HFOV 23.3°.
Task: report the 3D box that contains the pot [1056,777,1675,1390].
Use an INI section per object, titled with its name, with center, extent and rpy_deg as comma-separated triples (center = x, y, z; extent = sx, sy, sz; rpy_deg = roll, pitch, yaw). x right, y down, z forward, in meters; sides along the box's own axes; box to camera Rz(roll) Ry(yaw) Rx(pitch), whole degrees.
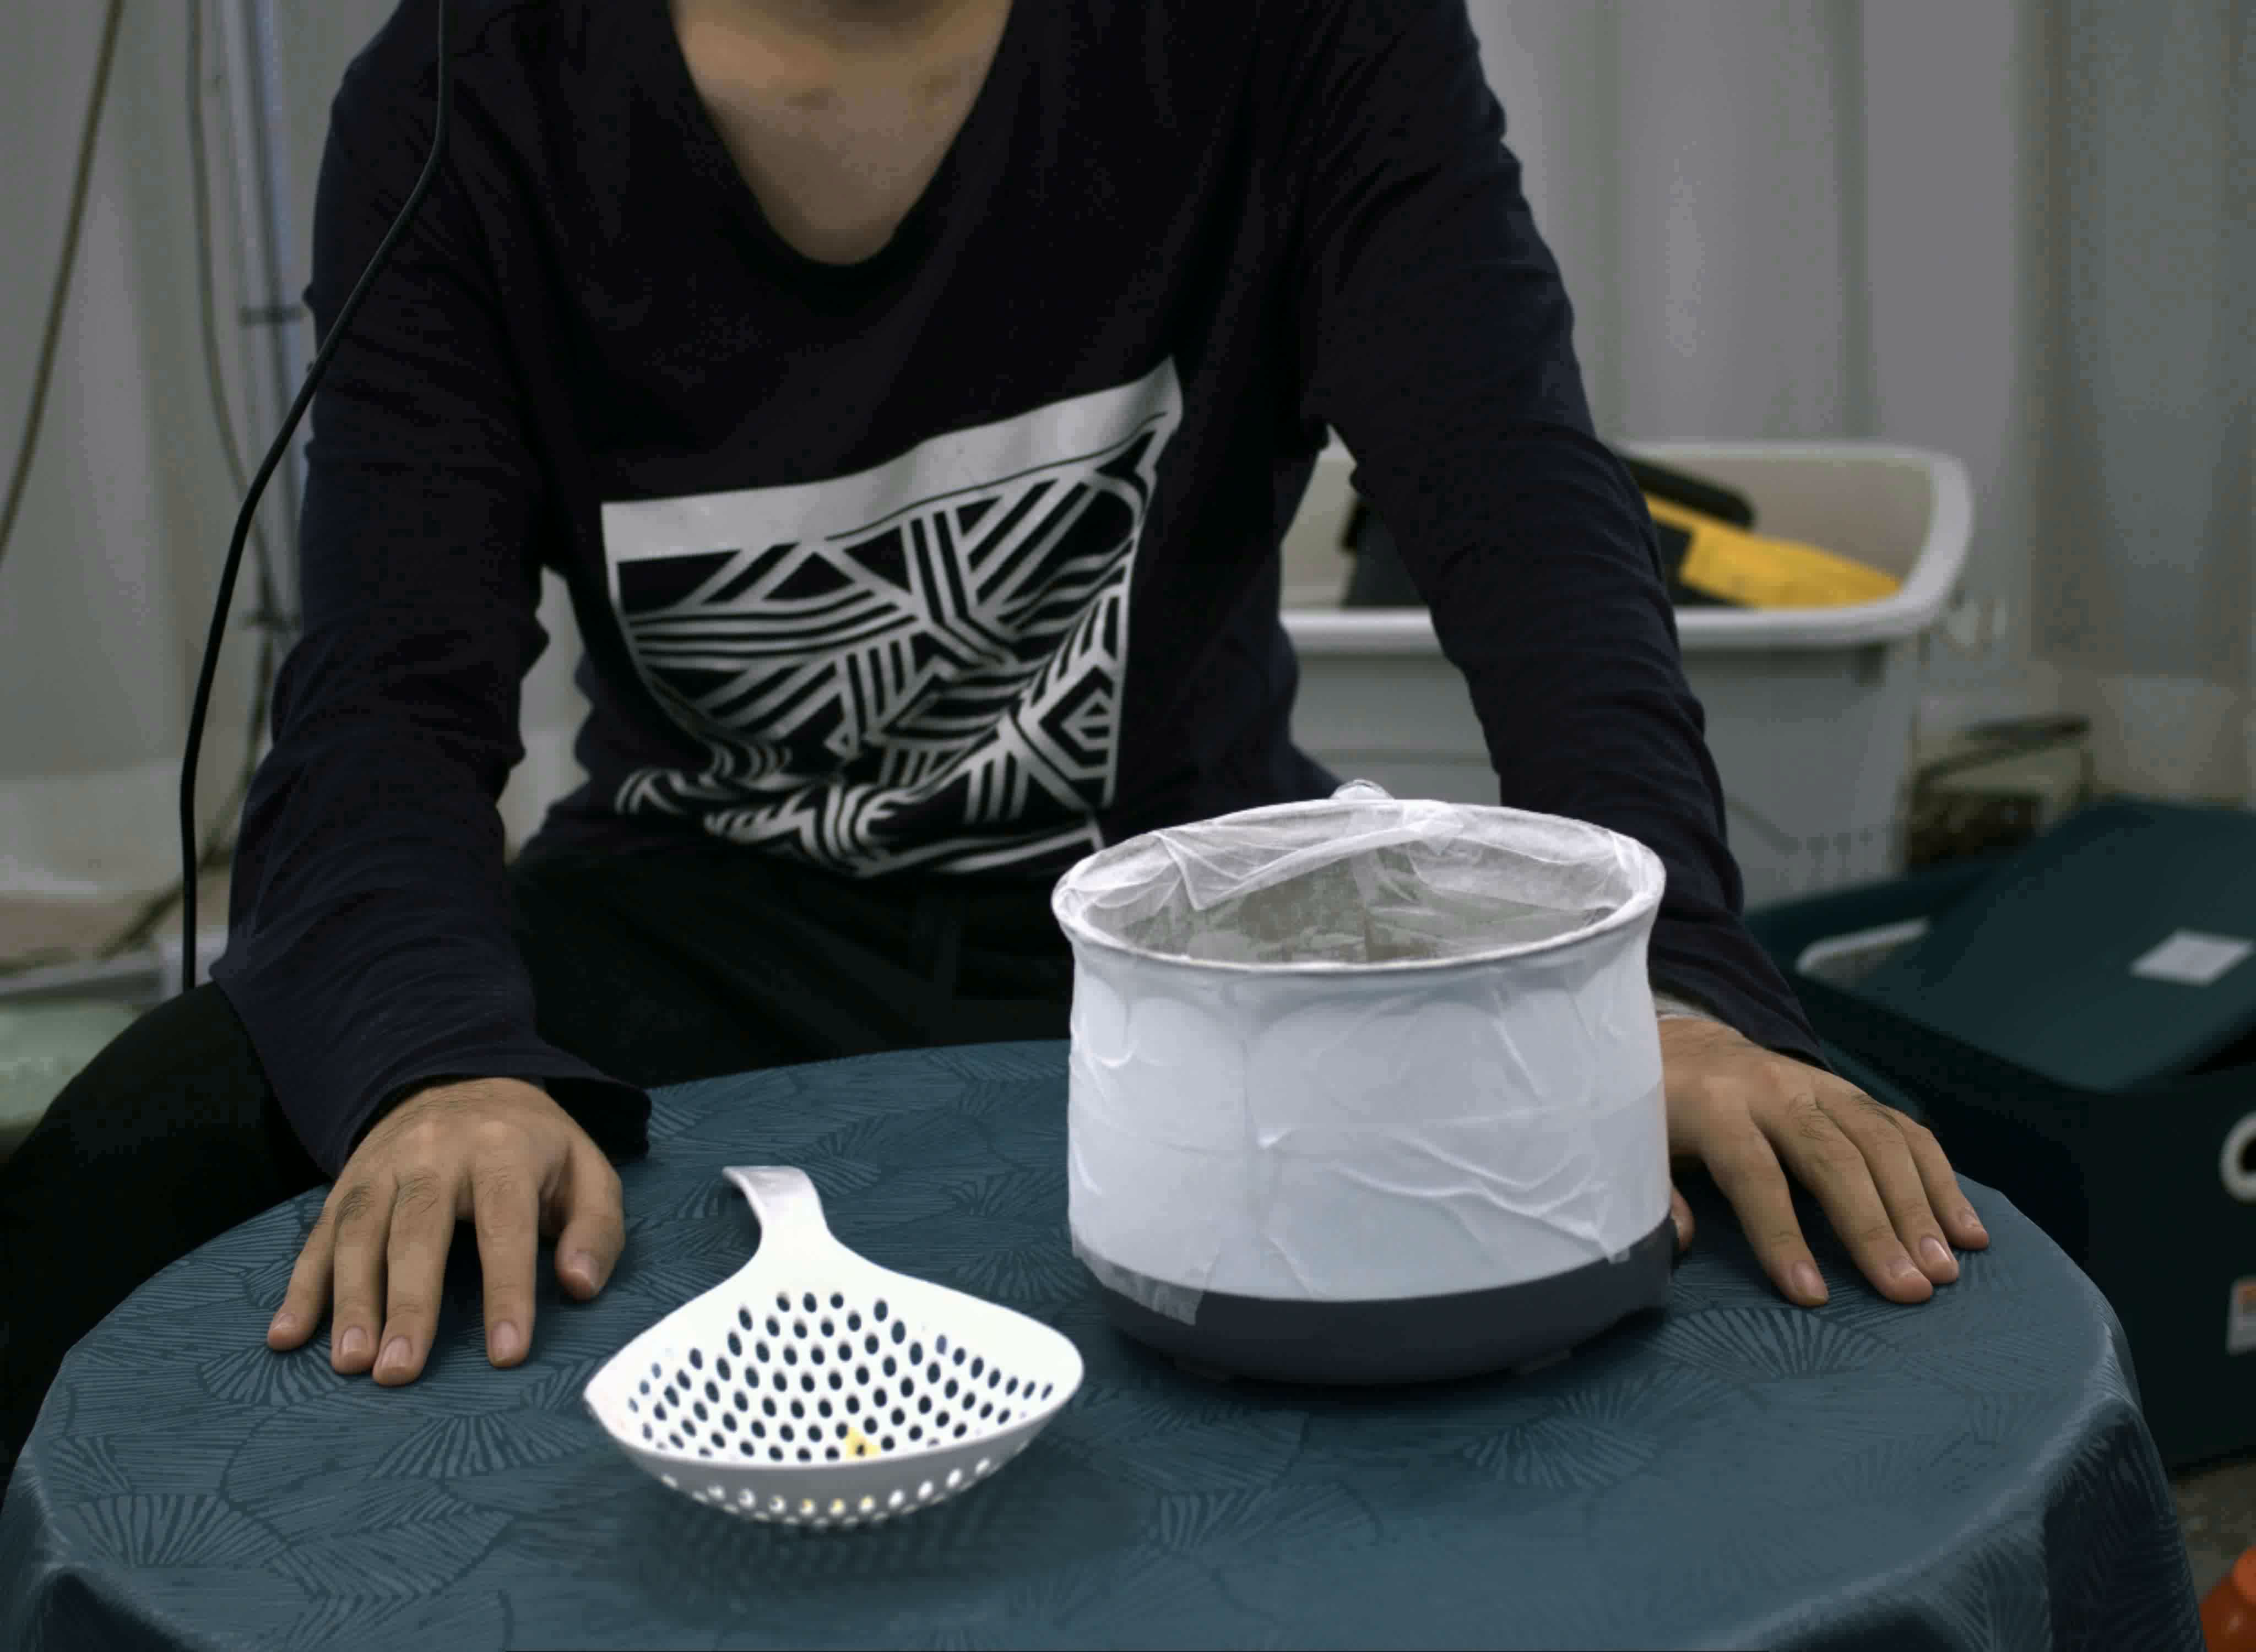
[pot]
center = 0.069, 0.070, 1.609
extent = 0.178, 0.136, 0.235
rpy_deg = 0, 15, 1

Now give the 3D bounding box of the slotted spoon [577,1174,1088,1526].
[slotted spoon]
center = -0.096, 0.136, 1.571
extent = 0.136, 0.050, 0.351
rpy_deg = -6, 16, -8
